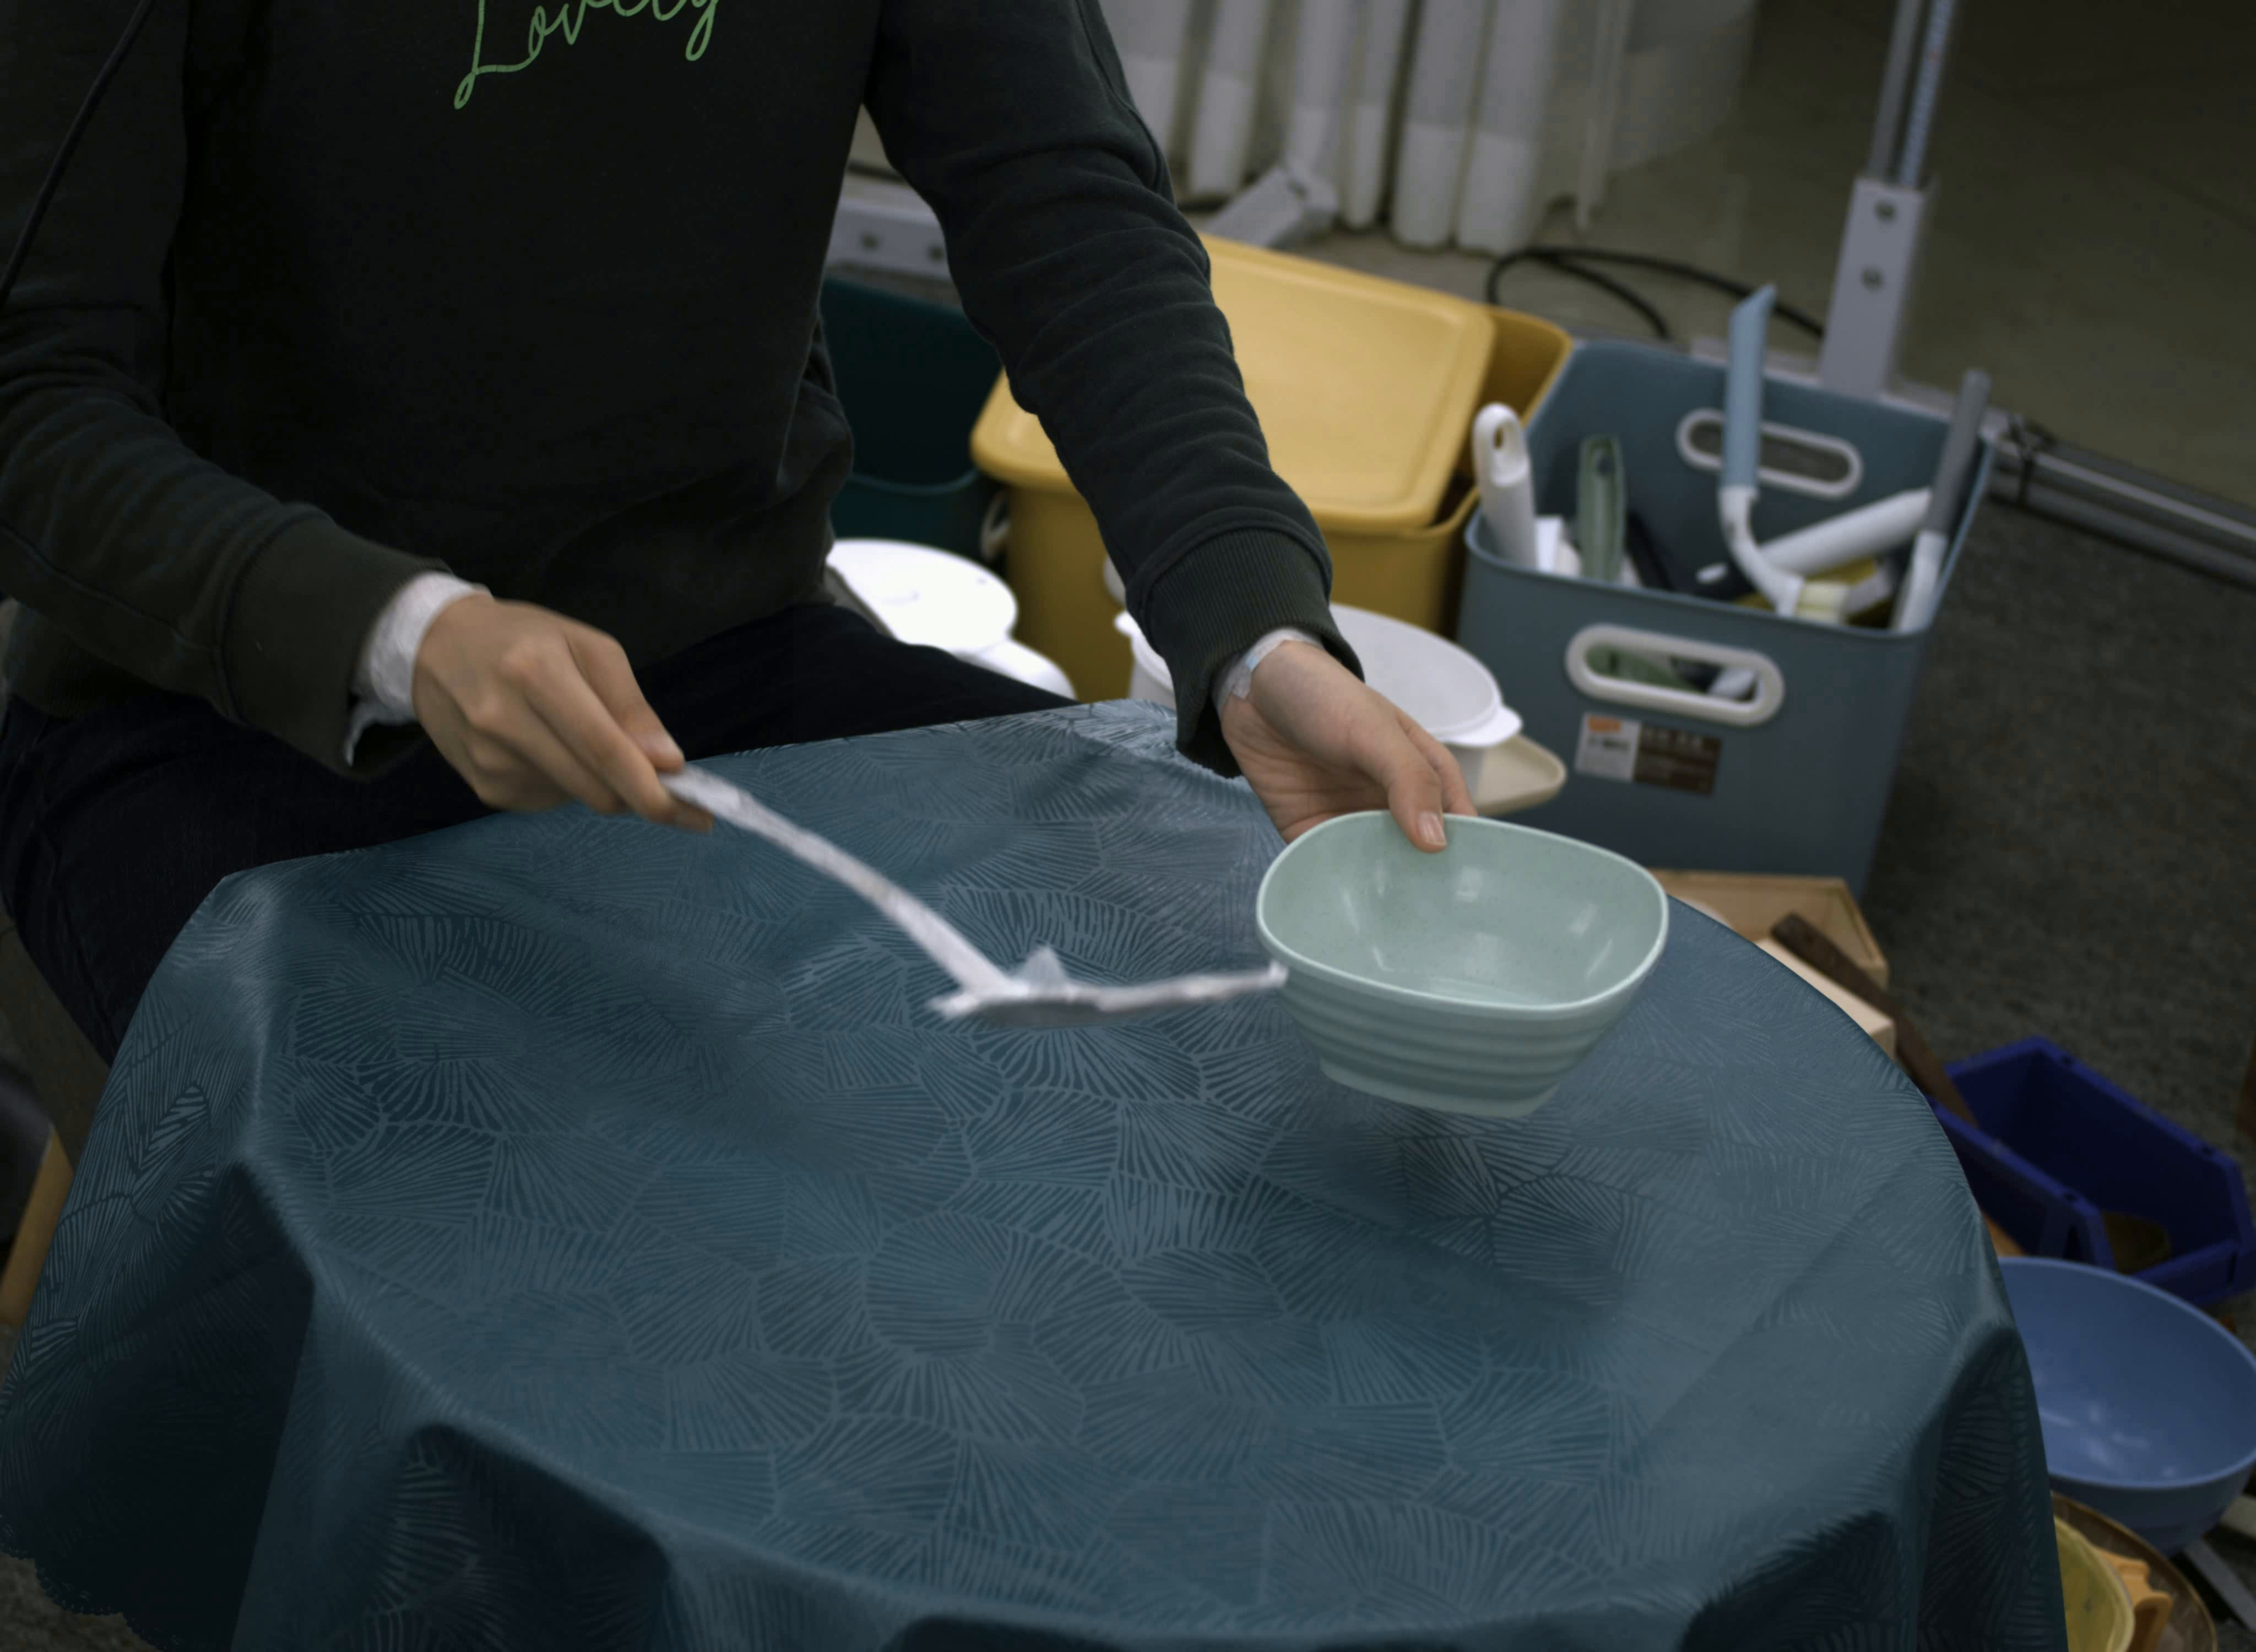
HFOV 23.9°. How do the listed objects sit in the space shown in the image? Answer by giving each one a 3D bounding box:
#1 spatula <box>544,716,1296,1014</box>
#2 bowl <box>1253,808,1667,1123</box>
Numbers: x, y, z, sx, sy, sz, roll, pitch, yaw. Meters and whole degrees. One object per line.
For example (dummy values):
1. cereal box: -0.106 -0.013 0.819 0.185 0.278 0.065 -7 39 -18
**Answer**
1. spatula: -0.091 0.004 1.728 0.098 0.045 0.368 -7 23 -39
2. bowl: 0.111 0.053 1.819 0.151 0.058 0.152 4 27 -3
